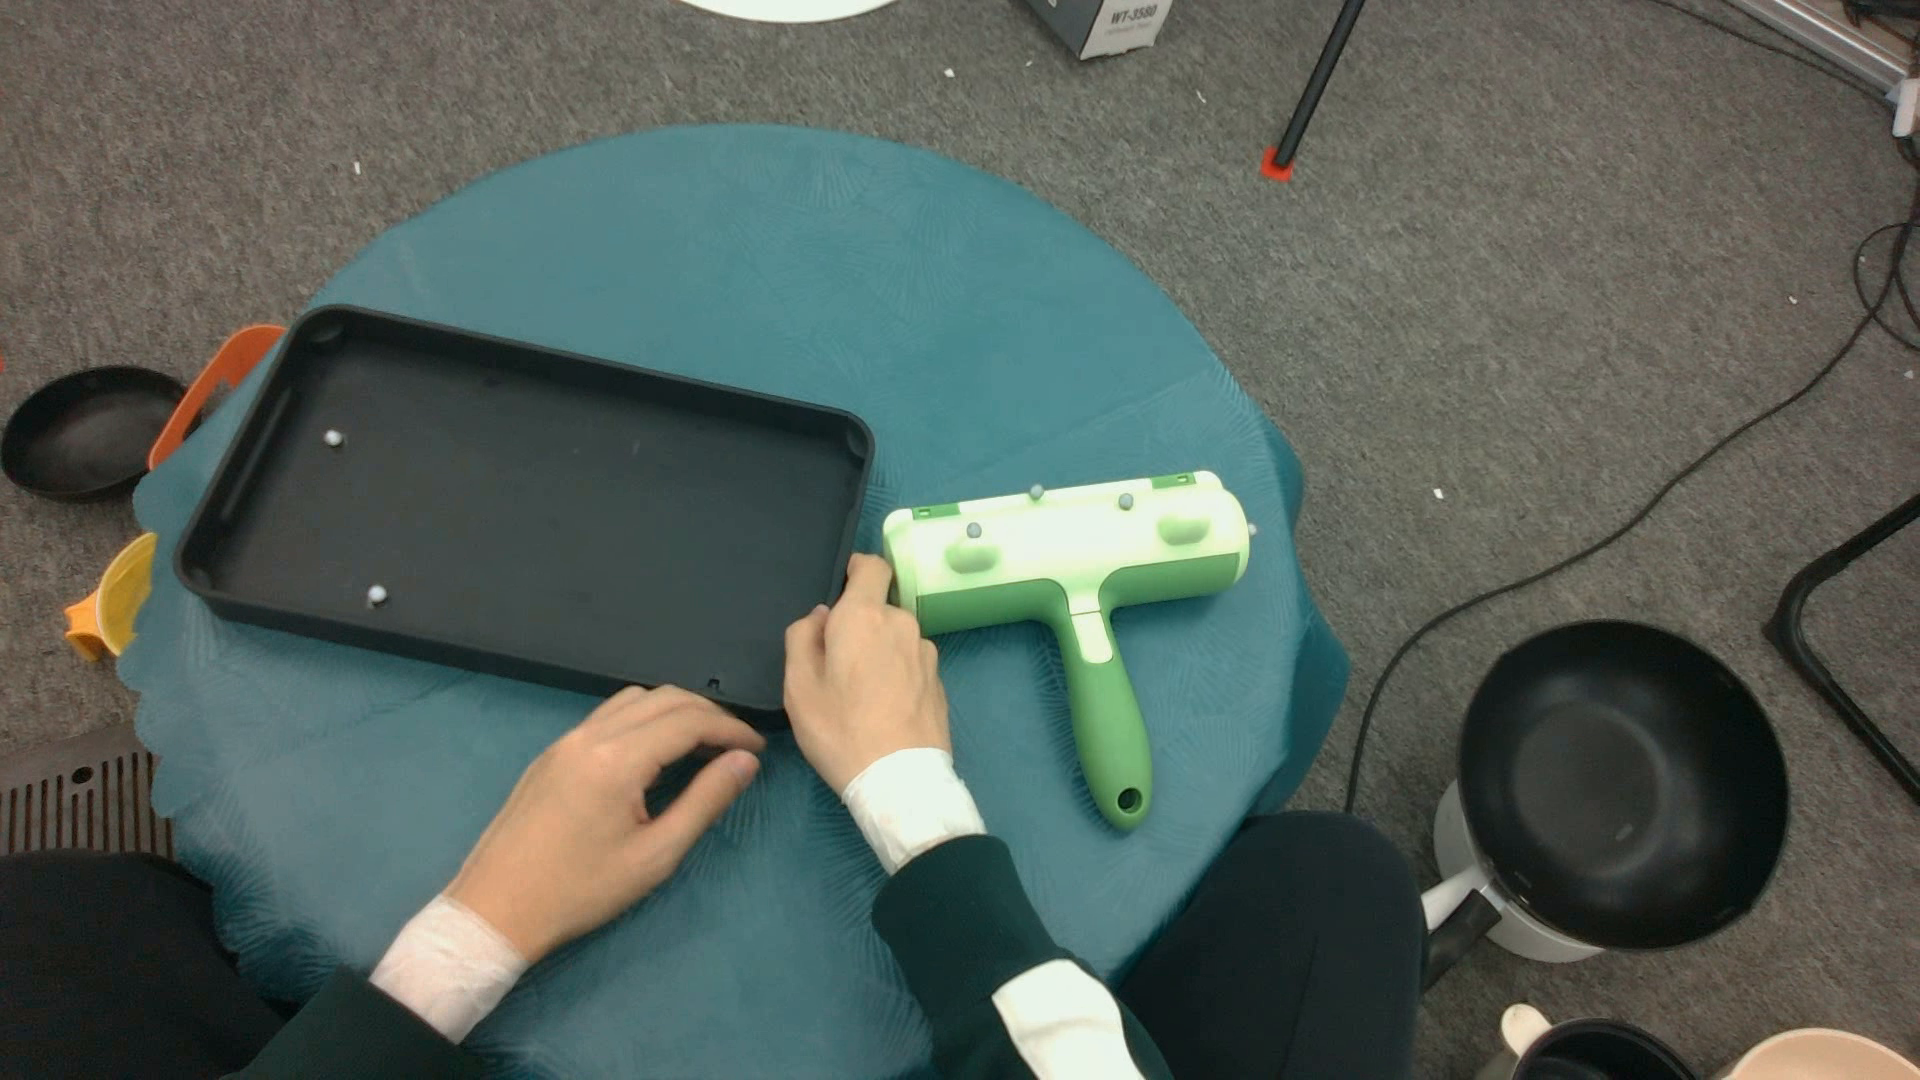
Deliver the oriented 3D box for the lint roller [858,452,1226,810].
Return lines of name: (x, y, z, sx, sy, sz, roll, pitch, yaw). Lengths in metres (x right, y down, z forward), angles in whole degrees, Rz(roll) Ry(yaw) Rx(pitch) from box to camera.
lint roller: (0.059, 0.041, 0.709, 0.199, 0.082, 0.184, -8, 60, -14)

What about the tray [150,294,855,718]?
tray: (-0.226, -0.020, 0.719, 0.318, 0.037, 0.185, 11, 60, -2)
